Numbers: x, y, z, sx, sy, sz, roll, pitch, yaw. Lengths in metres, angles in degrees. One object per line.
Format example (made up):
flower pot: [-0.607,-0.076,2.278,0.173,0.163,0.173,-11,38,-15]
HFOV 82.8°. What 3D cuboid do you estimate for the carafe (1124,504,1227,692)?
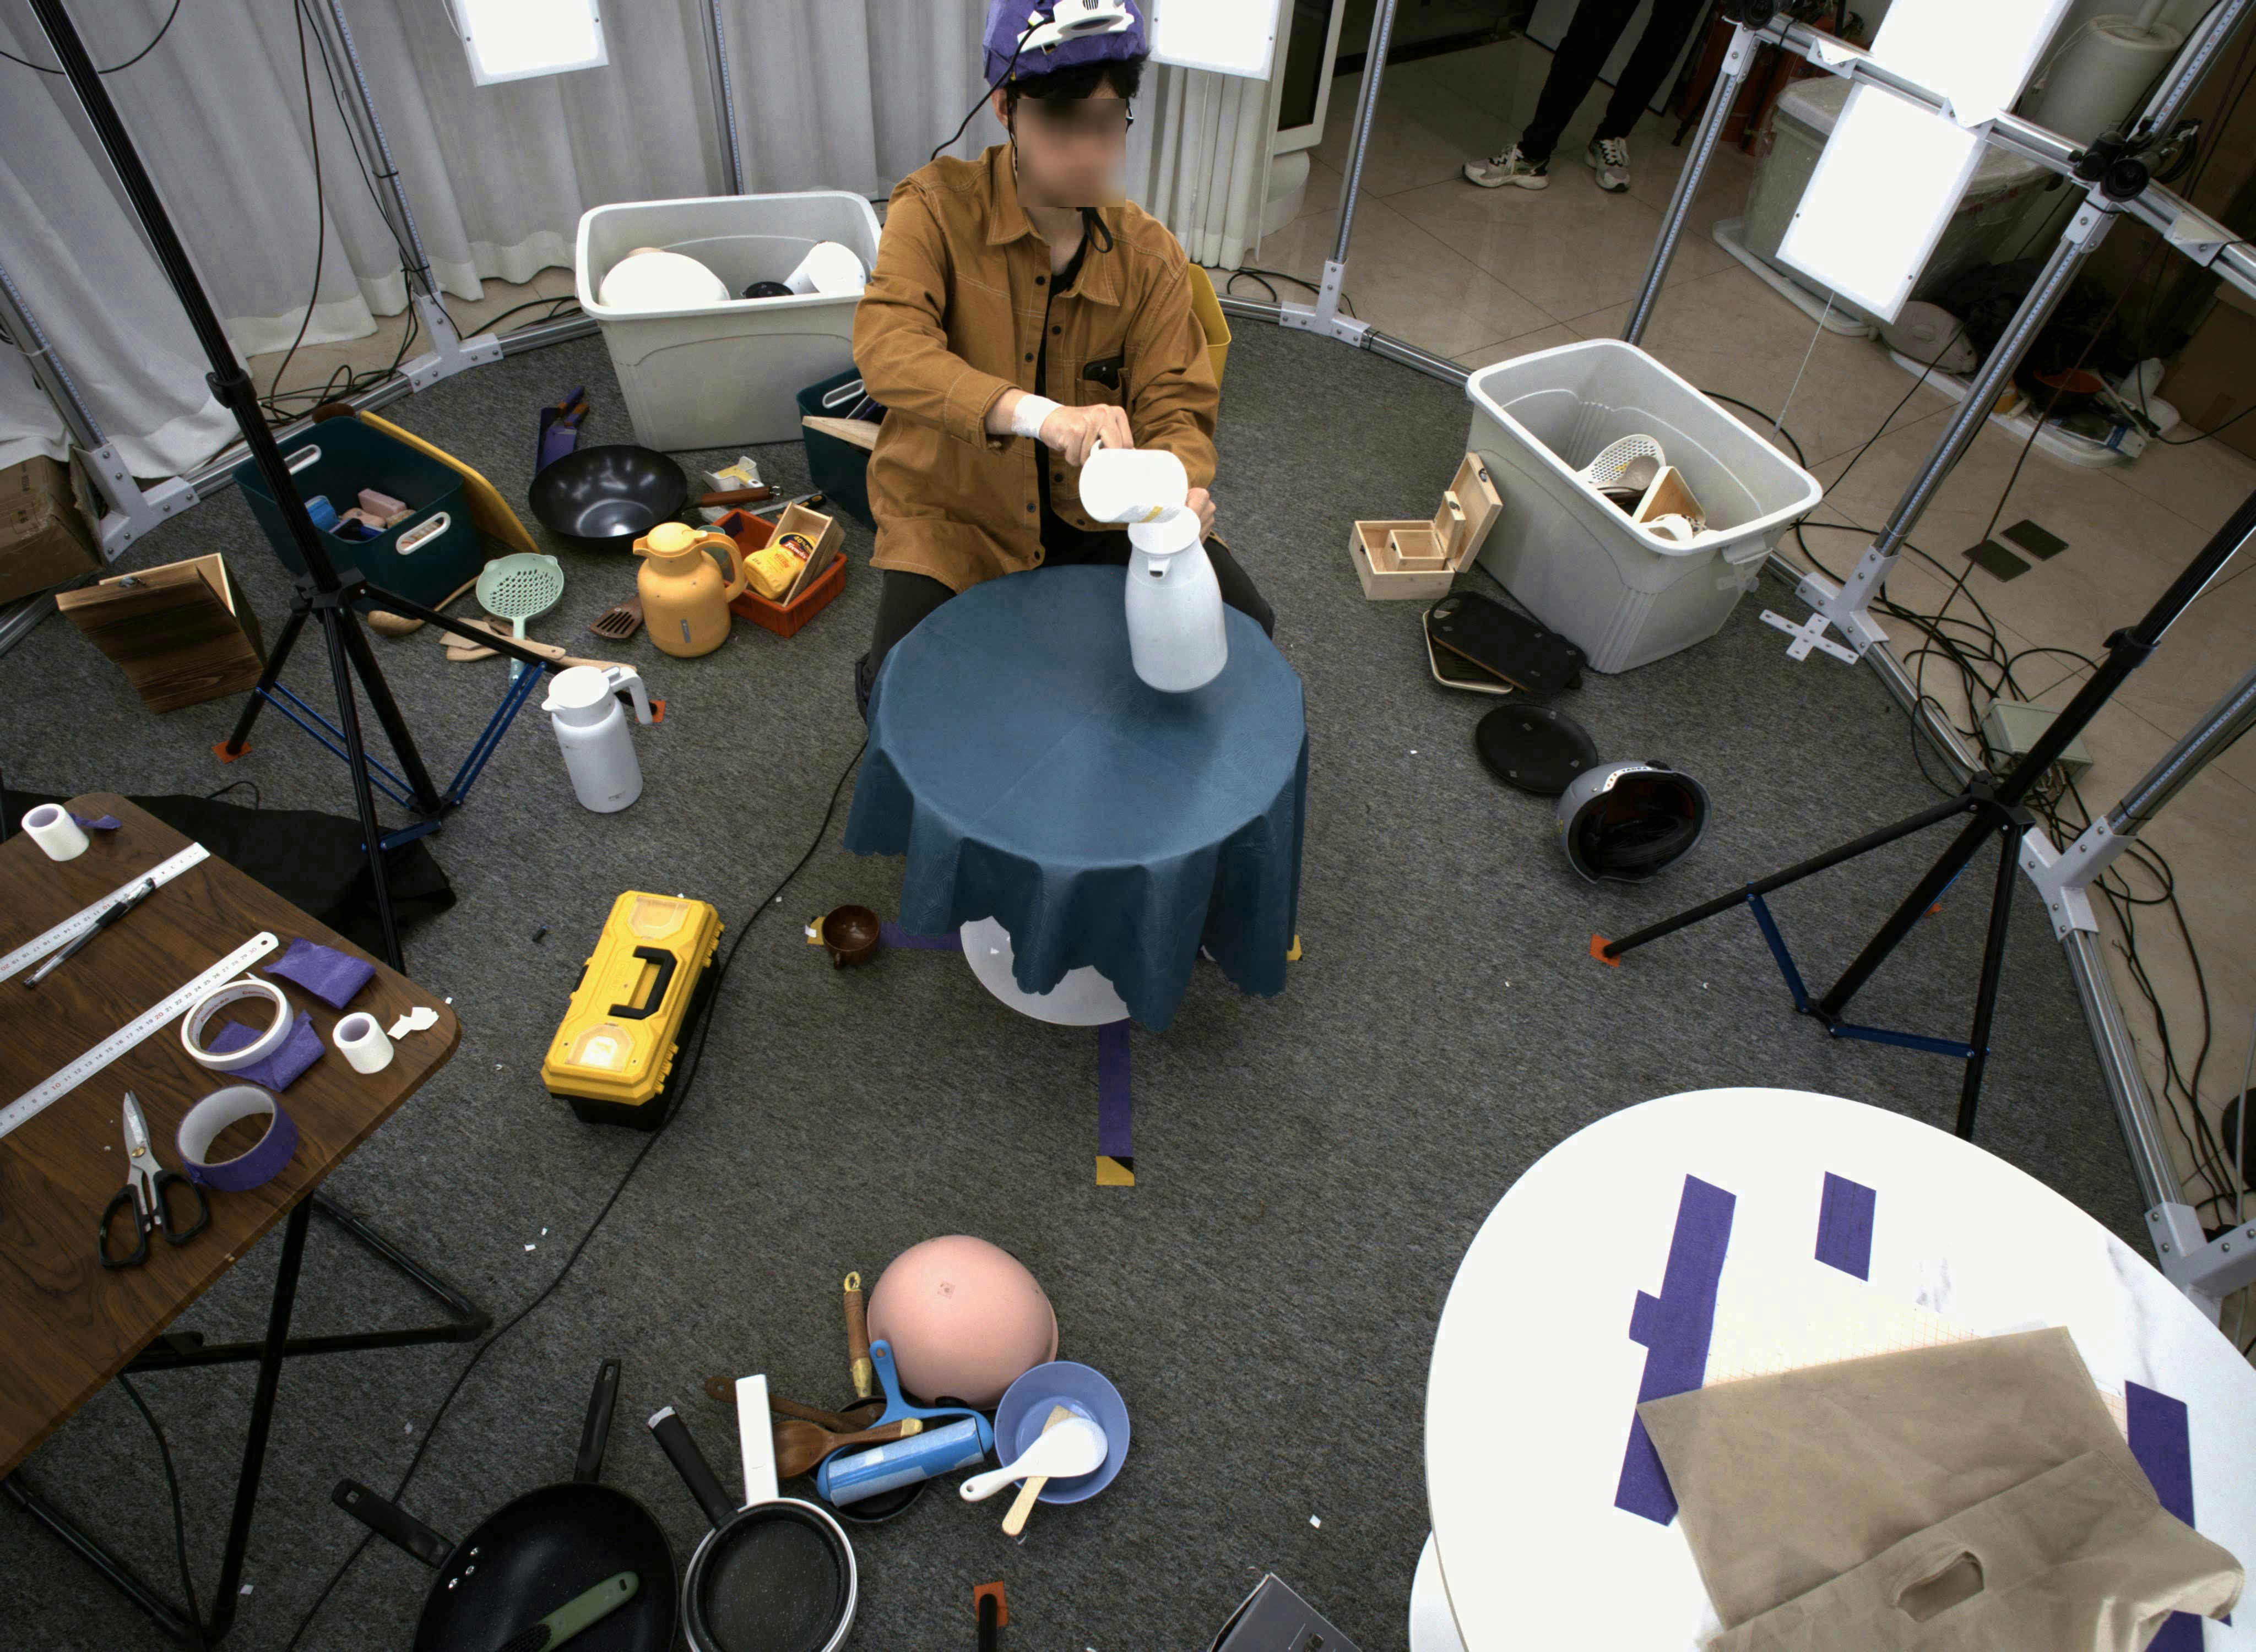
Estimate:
carafe: [0.058,-0.320,1.696,0.133,0.242,0.171,3,55,12]

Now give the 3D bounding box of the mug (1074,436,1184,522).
mug: [-0.008,-0.409,1.503,0.102,0.083,0.120,-12,62,-43]
